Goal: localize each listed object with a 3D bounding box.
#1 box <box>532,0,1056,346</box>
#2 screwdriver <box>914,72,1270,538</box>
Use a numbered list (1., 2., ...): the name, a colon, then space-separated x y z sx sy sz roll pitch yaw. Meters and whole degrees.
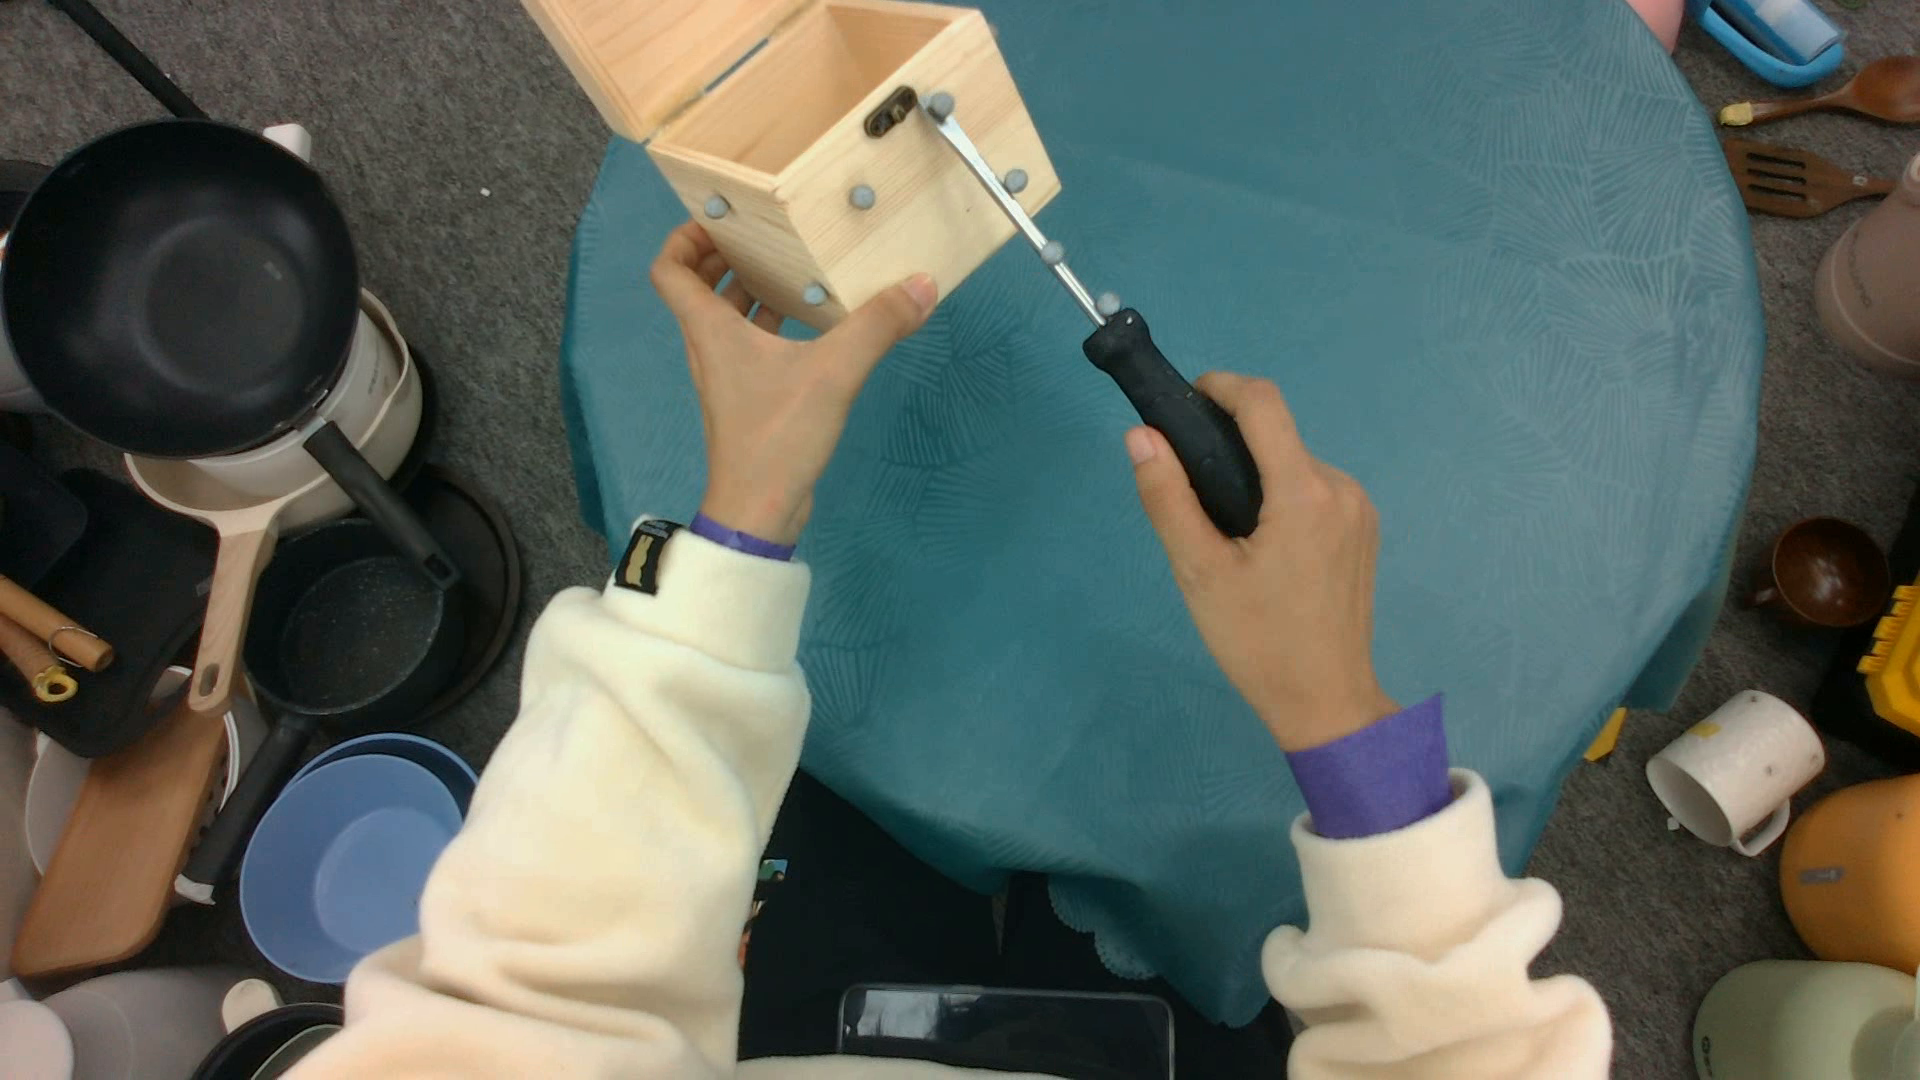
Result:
1. box: -0.071 -0.183 0.499 0.103 0.184 0.134 -44 41 -9
2. screwdriver: 0.046 -0.082 0.486 0.031 0.031 0.198 -37 94 -8
